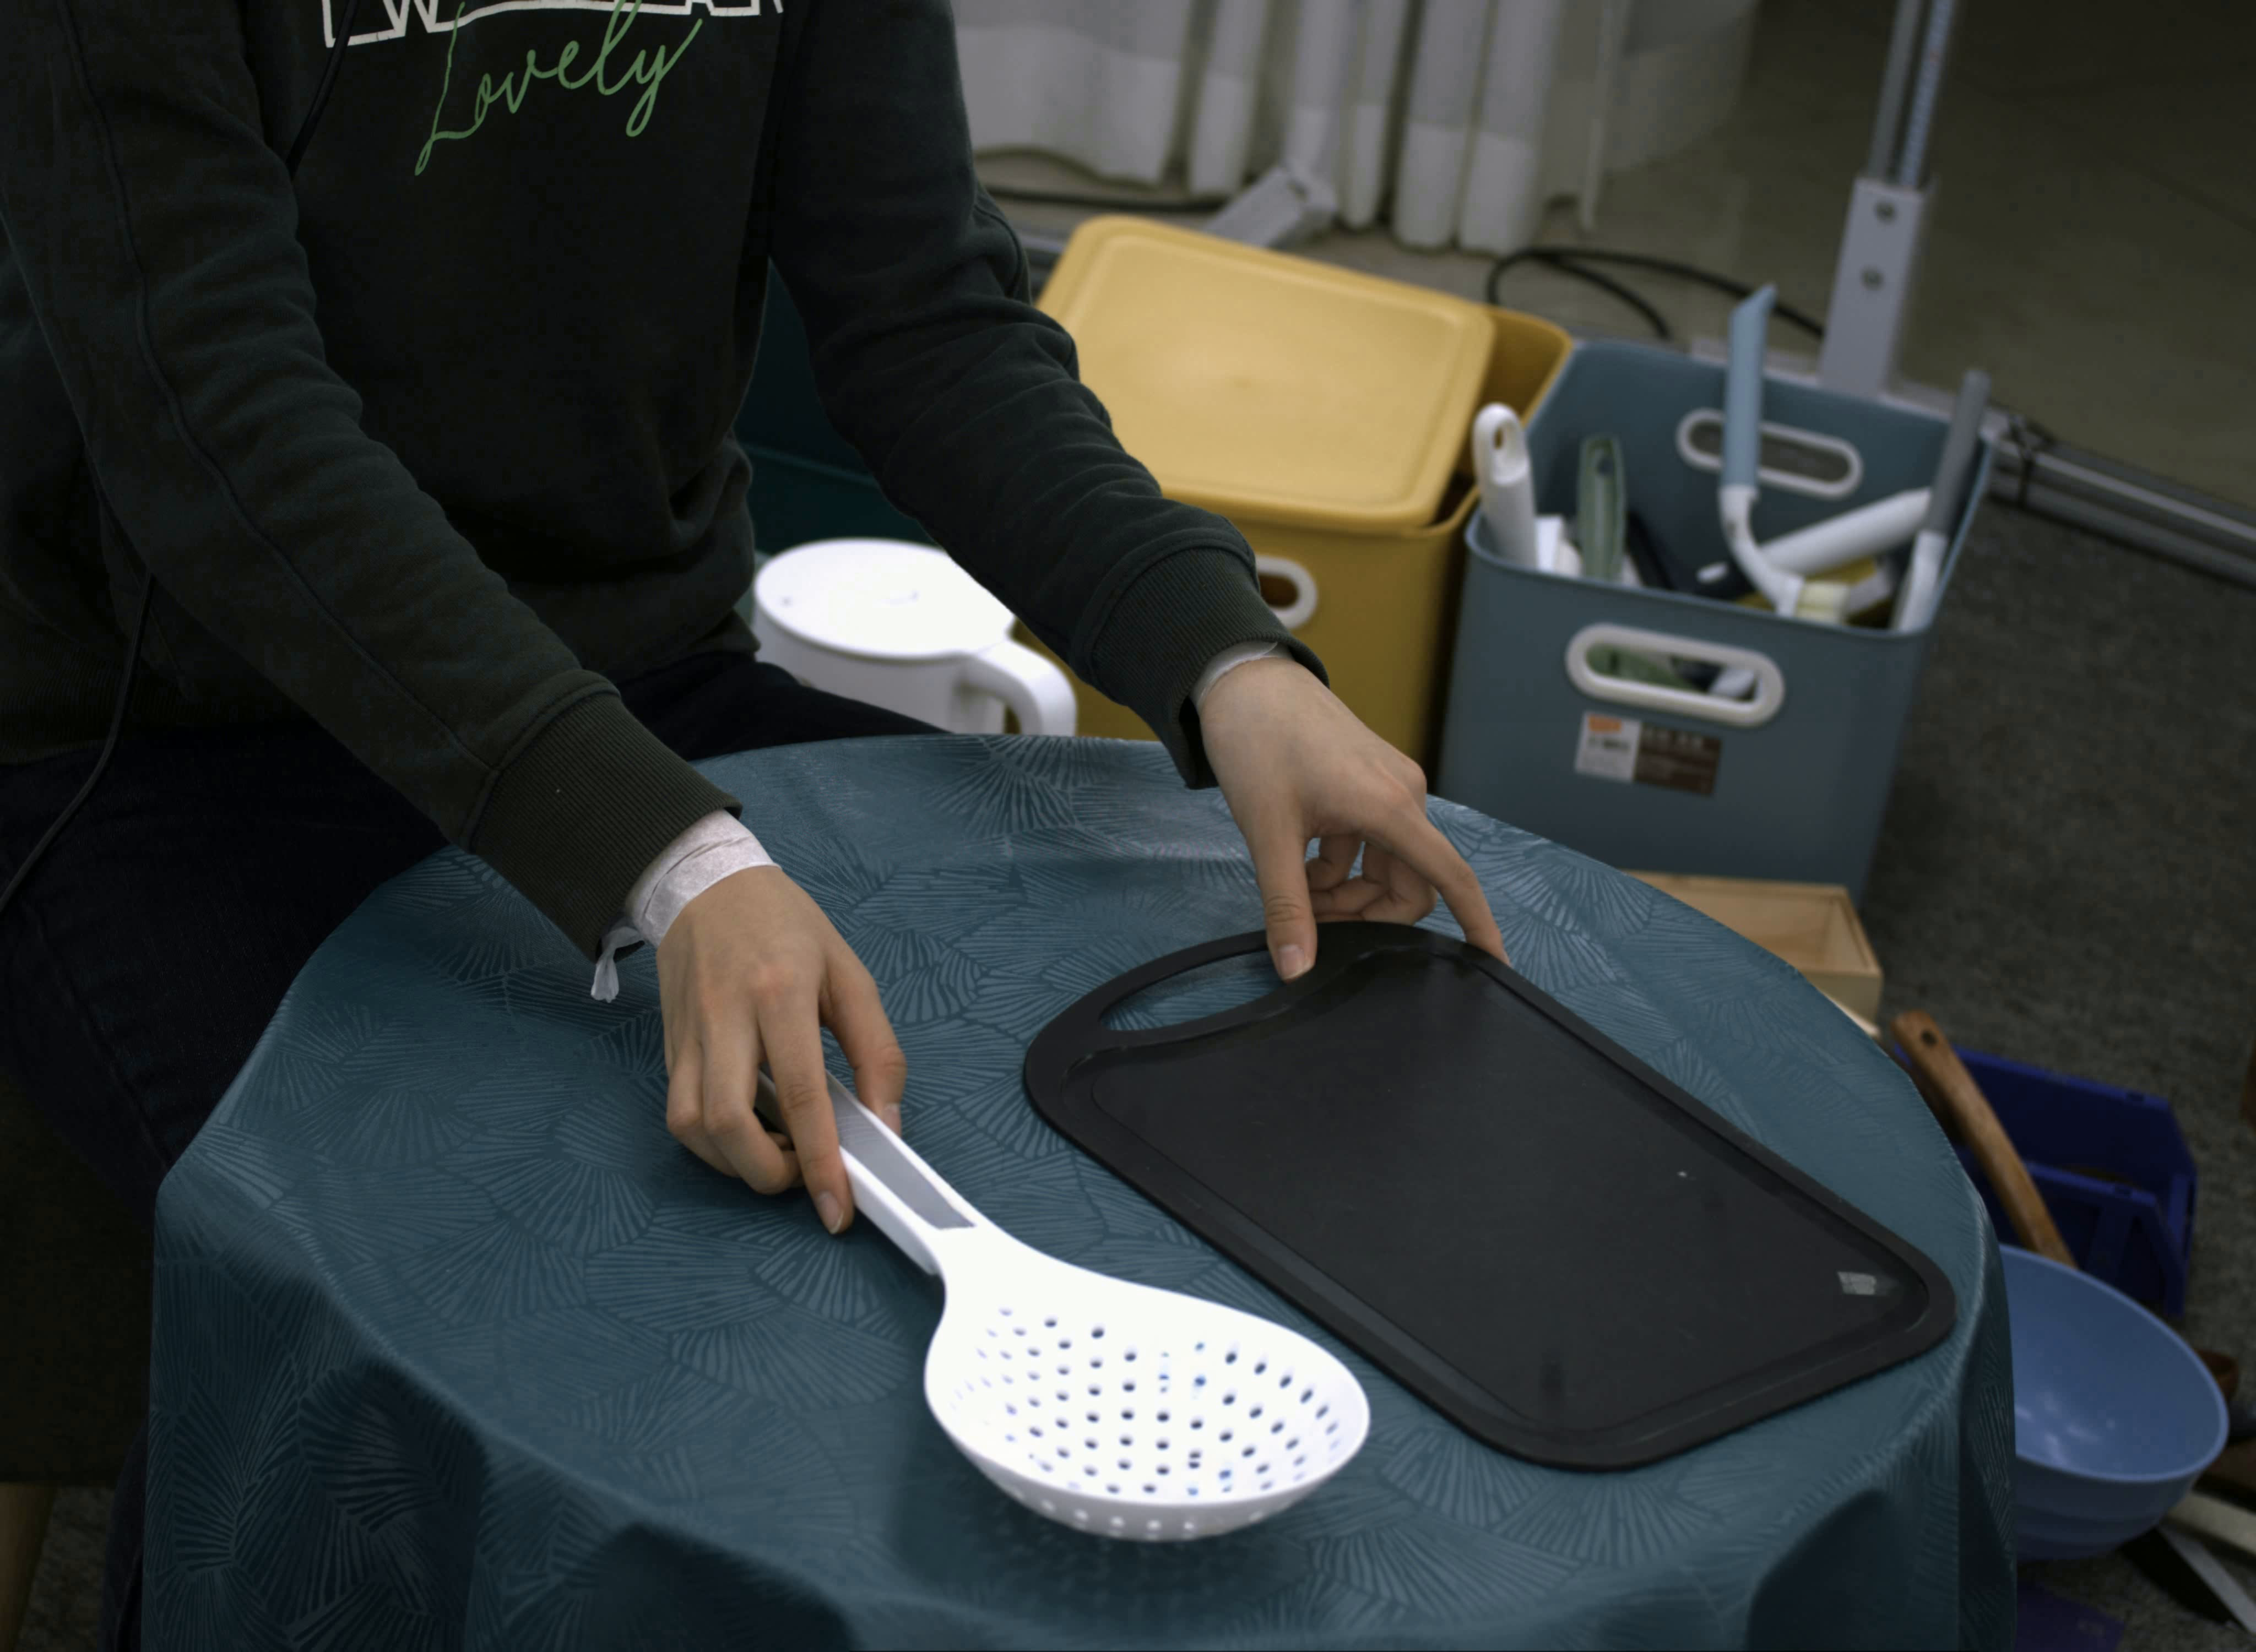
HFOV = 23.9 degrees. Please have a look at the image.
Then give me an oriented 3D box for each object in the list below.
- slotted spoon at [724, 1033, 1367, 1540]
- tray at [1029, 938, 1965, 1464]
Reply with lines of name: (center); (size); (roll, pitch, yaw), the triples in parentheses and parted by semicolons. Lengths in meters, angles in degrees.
slotted spoon: (-0.047, 0.141, 1.705); (0.135, 0.045, 0.353); (-6, 28, -28)
tray: (0.117, 0.118, 1.825); (0.210, 0.010, 0.328); (-16, 34, -36)
